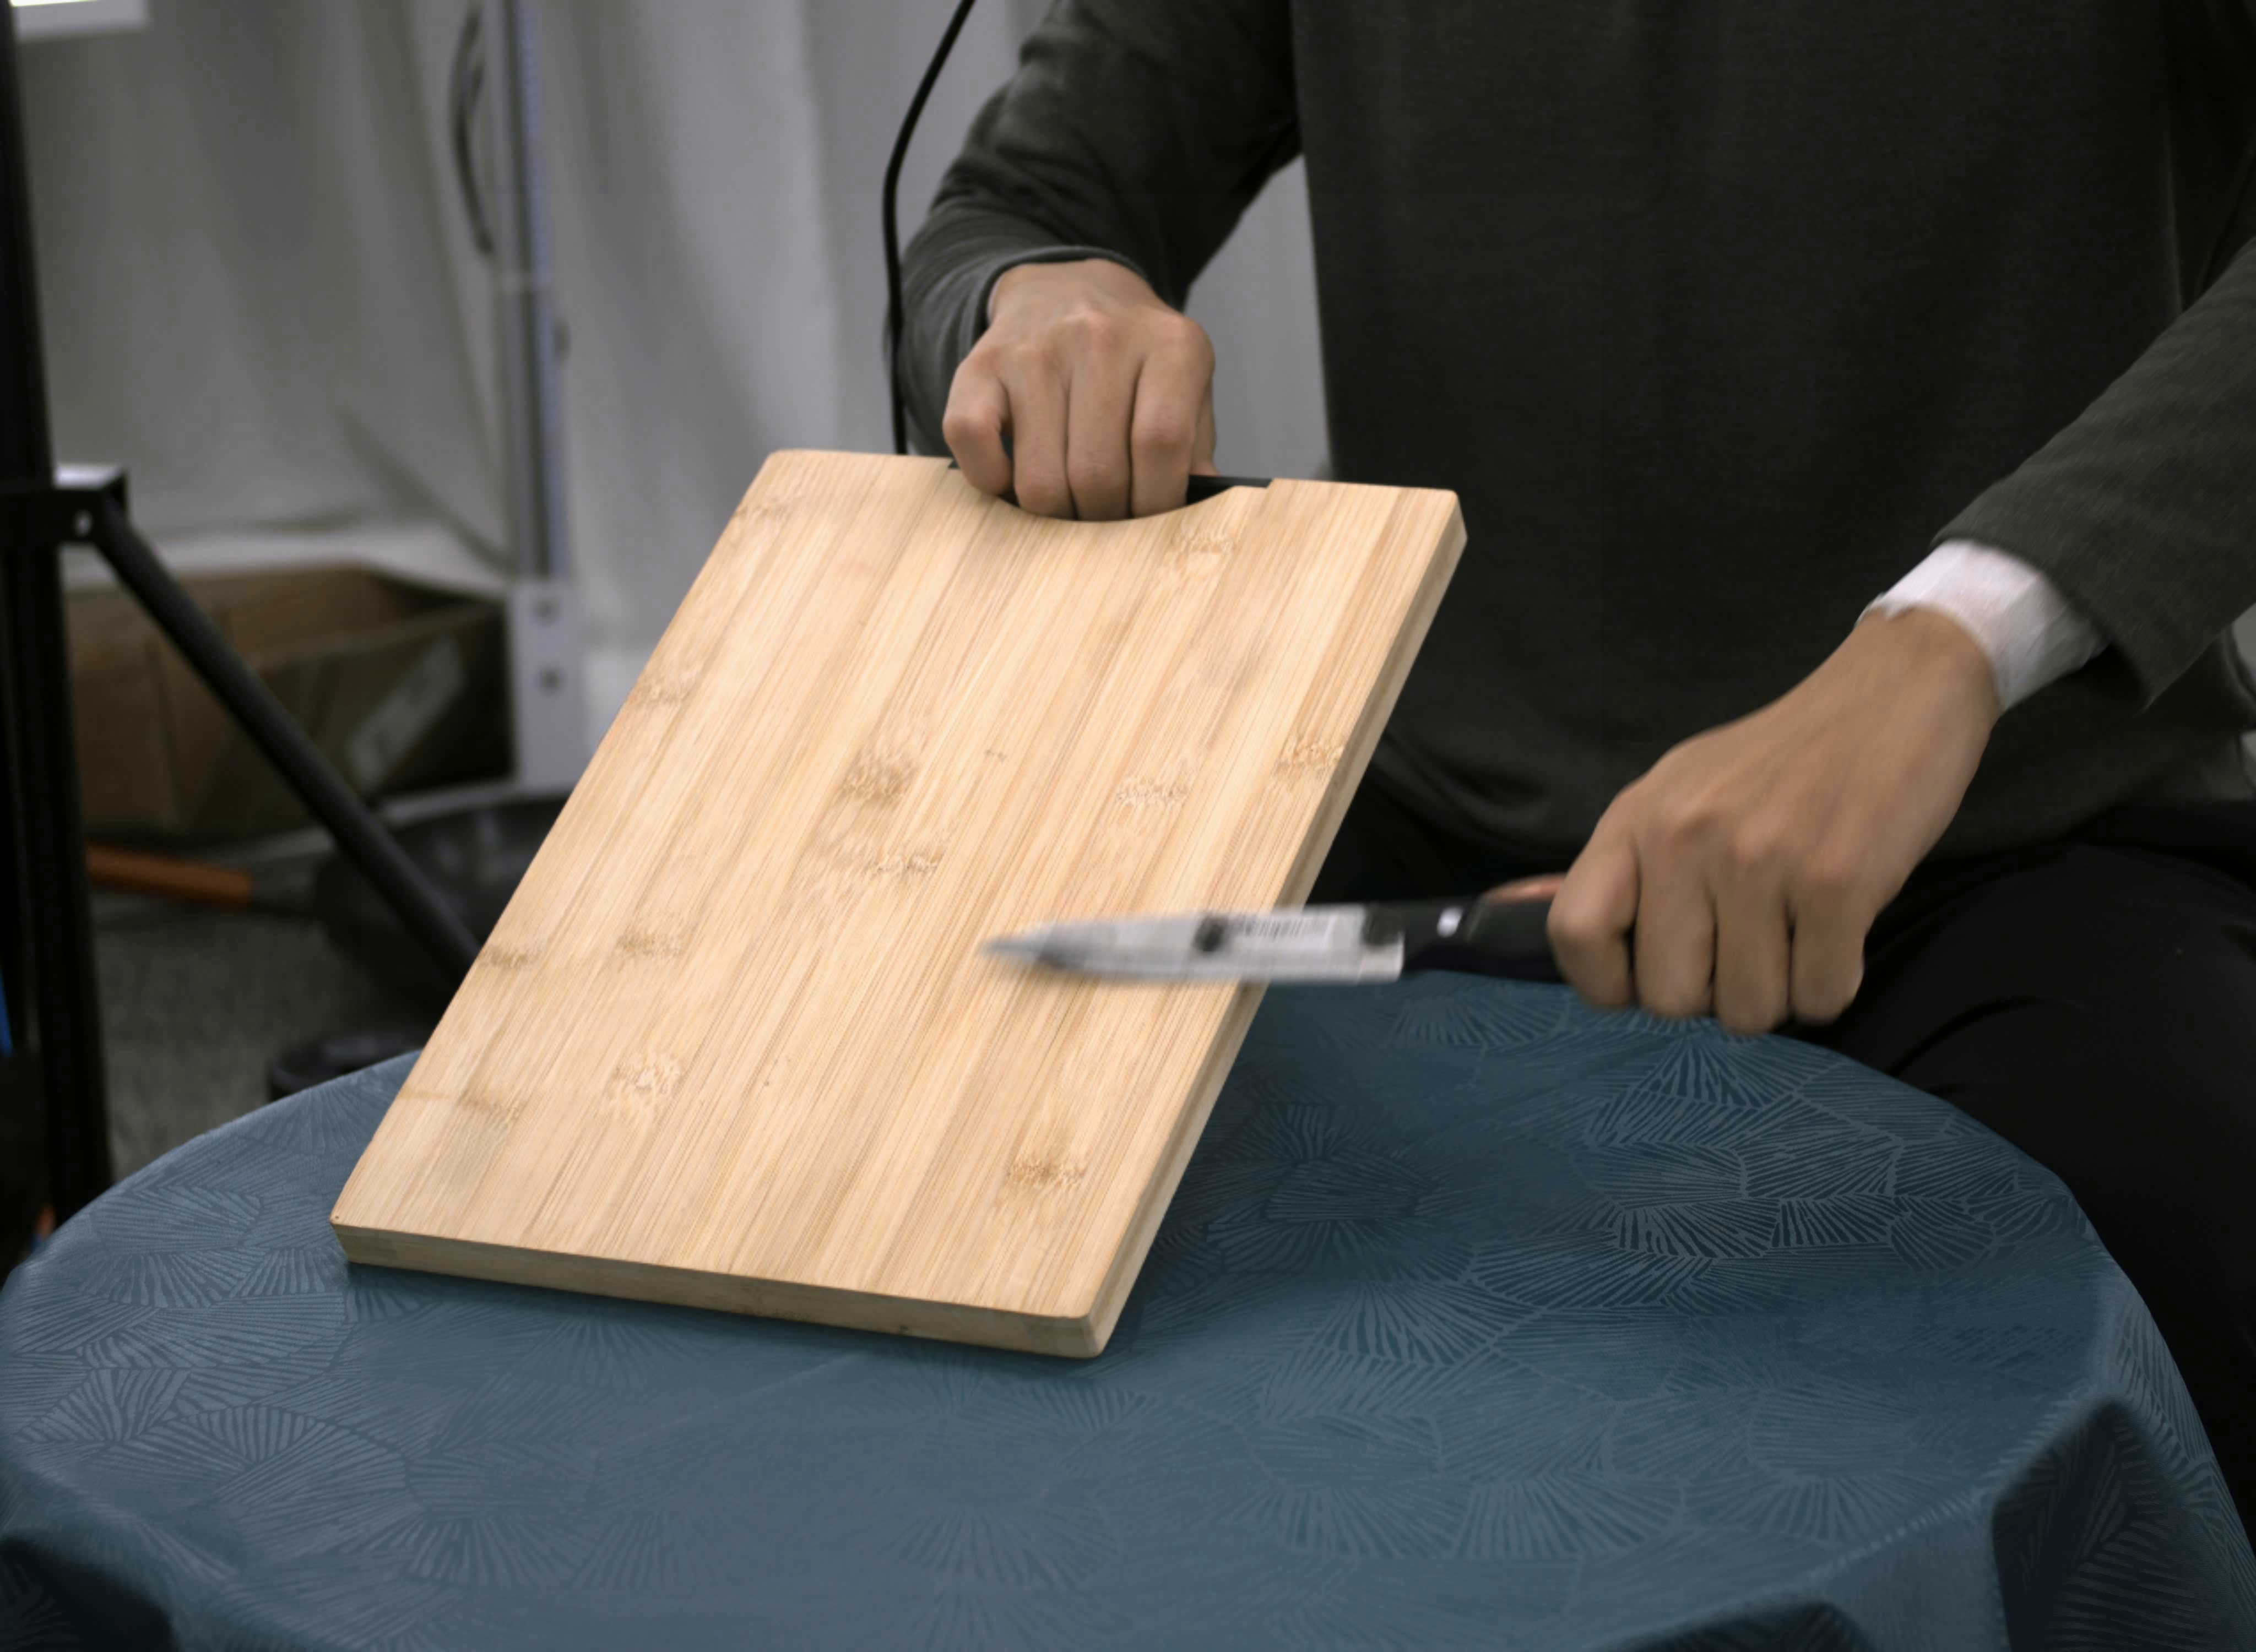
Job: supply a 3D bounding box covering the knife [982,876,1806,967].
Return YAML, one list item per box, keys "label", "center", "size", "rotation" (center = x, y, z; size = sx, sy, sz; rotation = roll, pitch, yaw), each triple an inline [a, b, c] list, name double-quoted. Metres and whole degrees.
- label: "knife"
  center: [0.073, 0.028, 1.502]
  size: [0.240, 0.016, 0.024]
  rotation: [-2, 57, 16]

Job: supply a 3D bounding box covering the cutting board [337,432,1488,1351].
- label: "cutting board"
  center: [-0.058, 0.008, 1.590]
  size: [0.254, 0.023, 0.348]
  rotation: [4, 46, 24]
